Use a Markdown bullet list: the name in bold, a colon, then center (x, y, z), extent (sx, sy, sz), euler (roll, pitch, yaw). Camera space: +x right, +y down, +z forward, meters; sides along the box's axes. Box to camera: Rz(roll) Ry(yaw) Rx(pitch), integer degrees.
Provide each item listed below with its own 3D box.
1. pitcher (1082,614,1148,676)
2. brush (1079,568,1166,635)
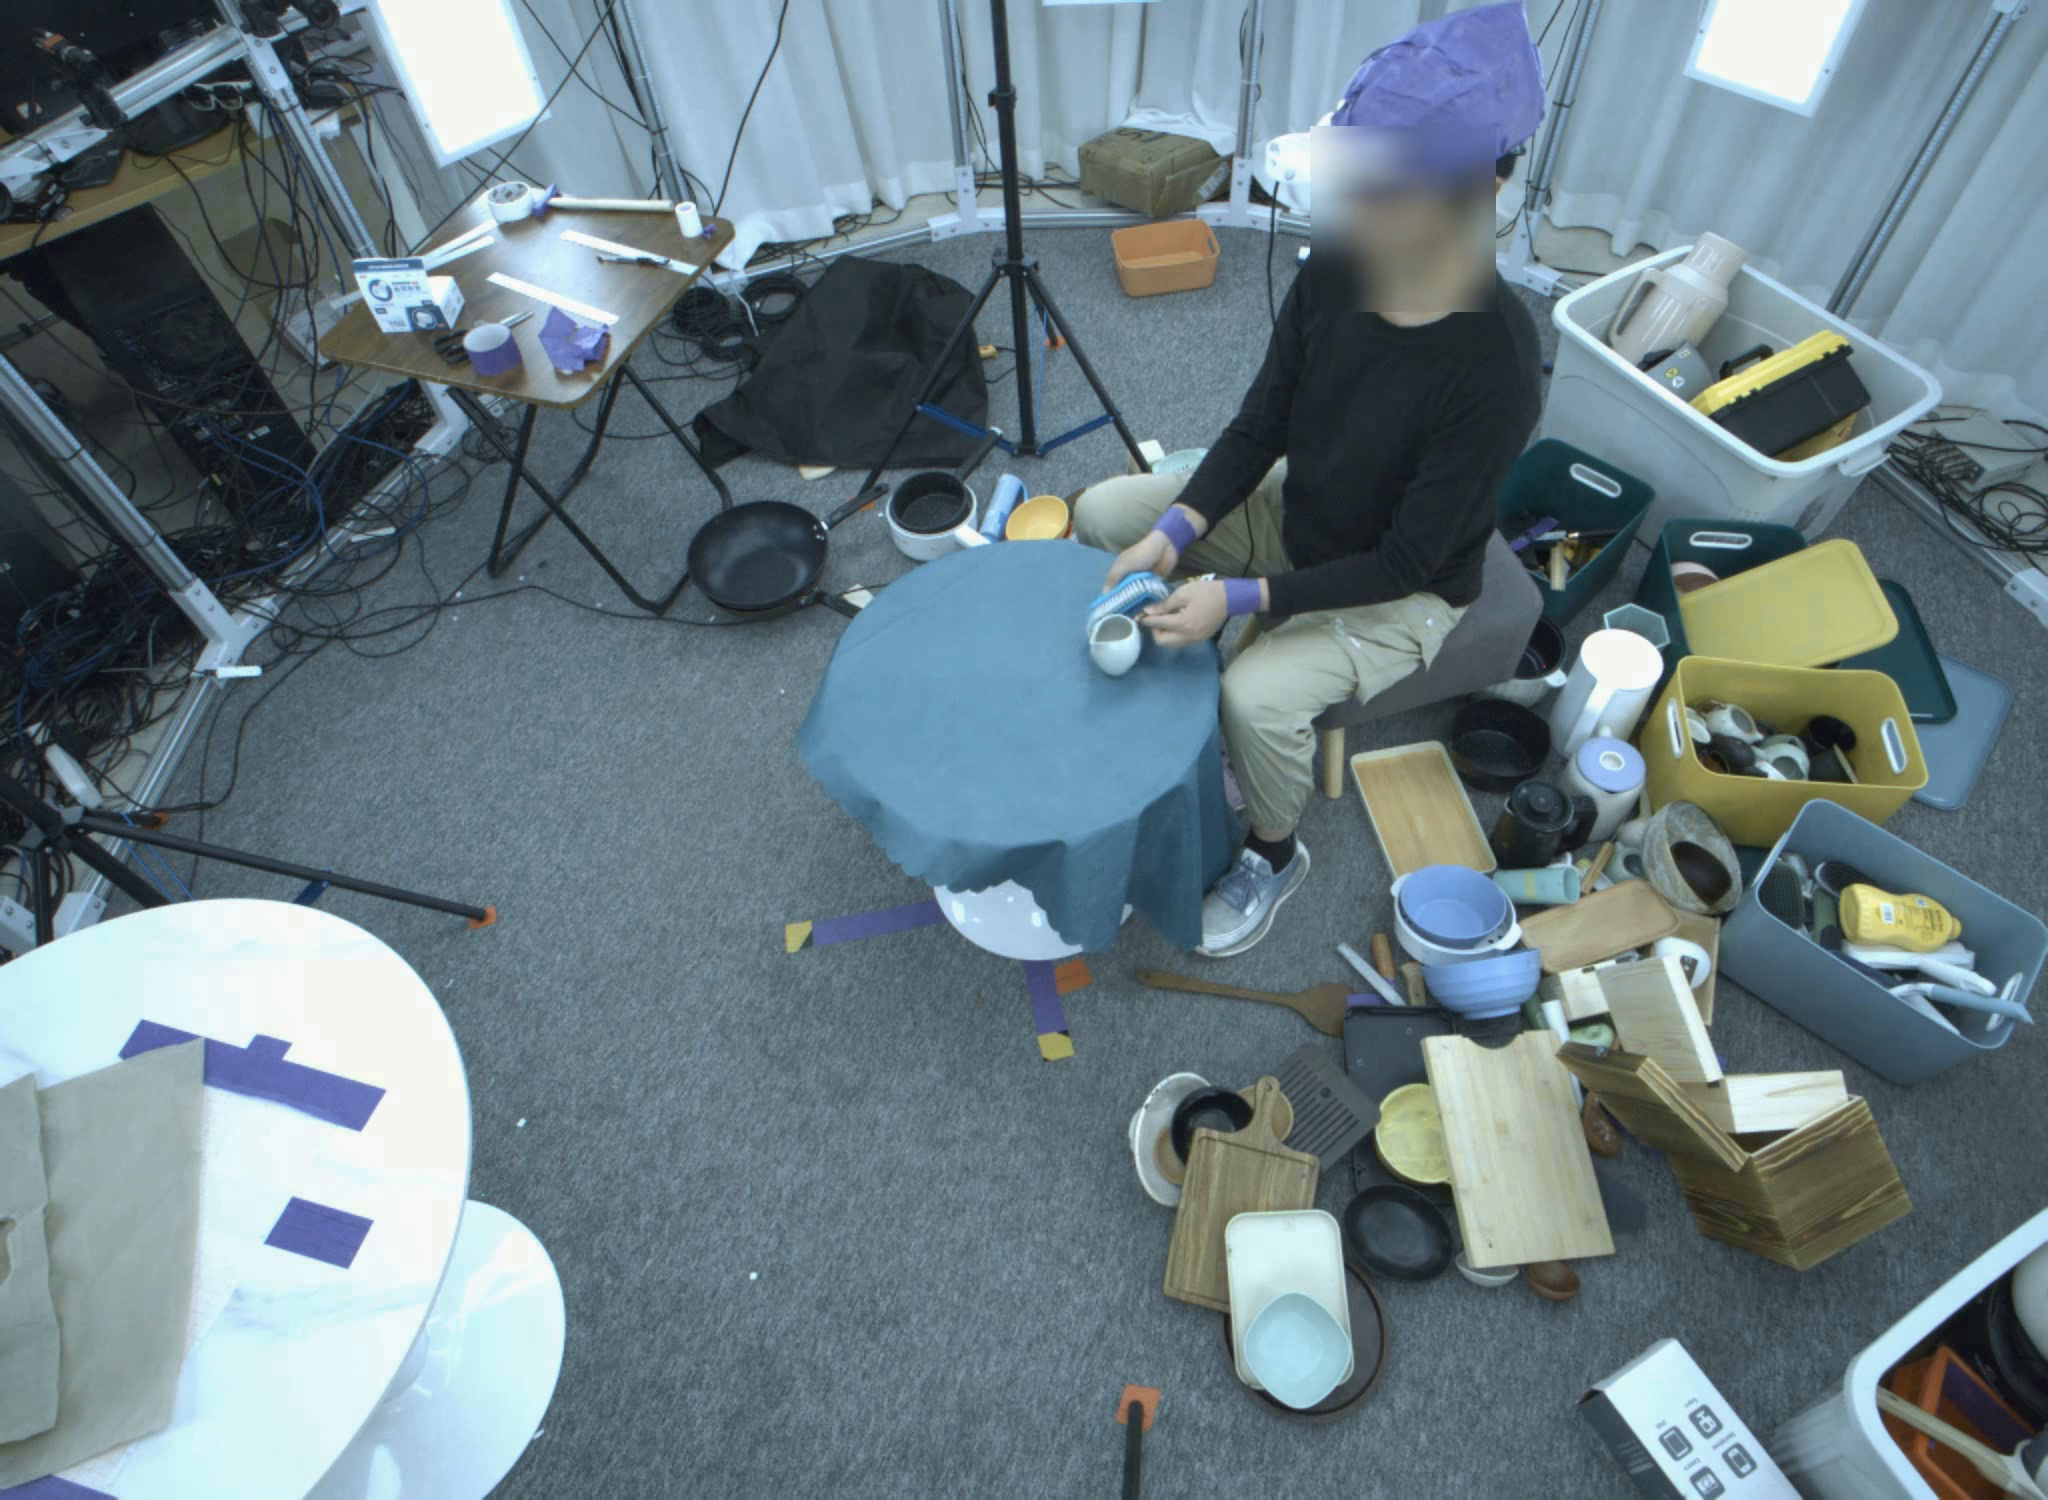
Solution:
- **pitcher**: center (0.136, -0.157, 1.842), extent (0.120, 0.089, 0.074), euler (-32, 65, -14)
- **brush**: center (0.147, -0.229, 1.864), extent (0.140, 0.086, 0.063), euler (-33, 50, 26)
